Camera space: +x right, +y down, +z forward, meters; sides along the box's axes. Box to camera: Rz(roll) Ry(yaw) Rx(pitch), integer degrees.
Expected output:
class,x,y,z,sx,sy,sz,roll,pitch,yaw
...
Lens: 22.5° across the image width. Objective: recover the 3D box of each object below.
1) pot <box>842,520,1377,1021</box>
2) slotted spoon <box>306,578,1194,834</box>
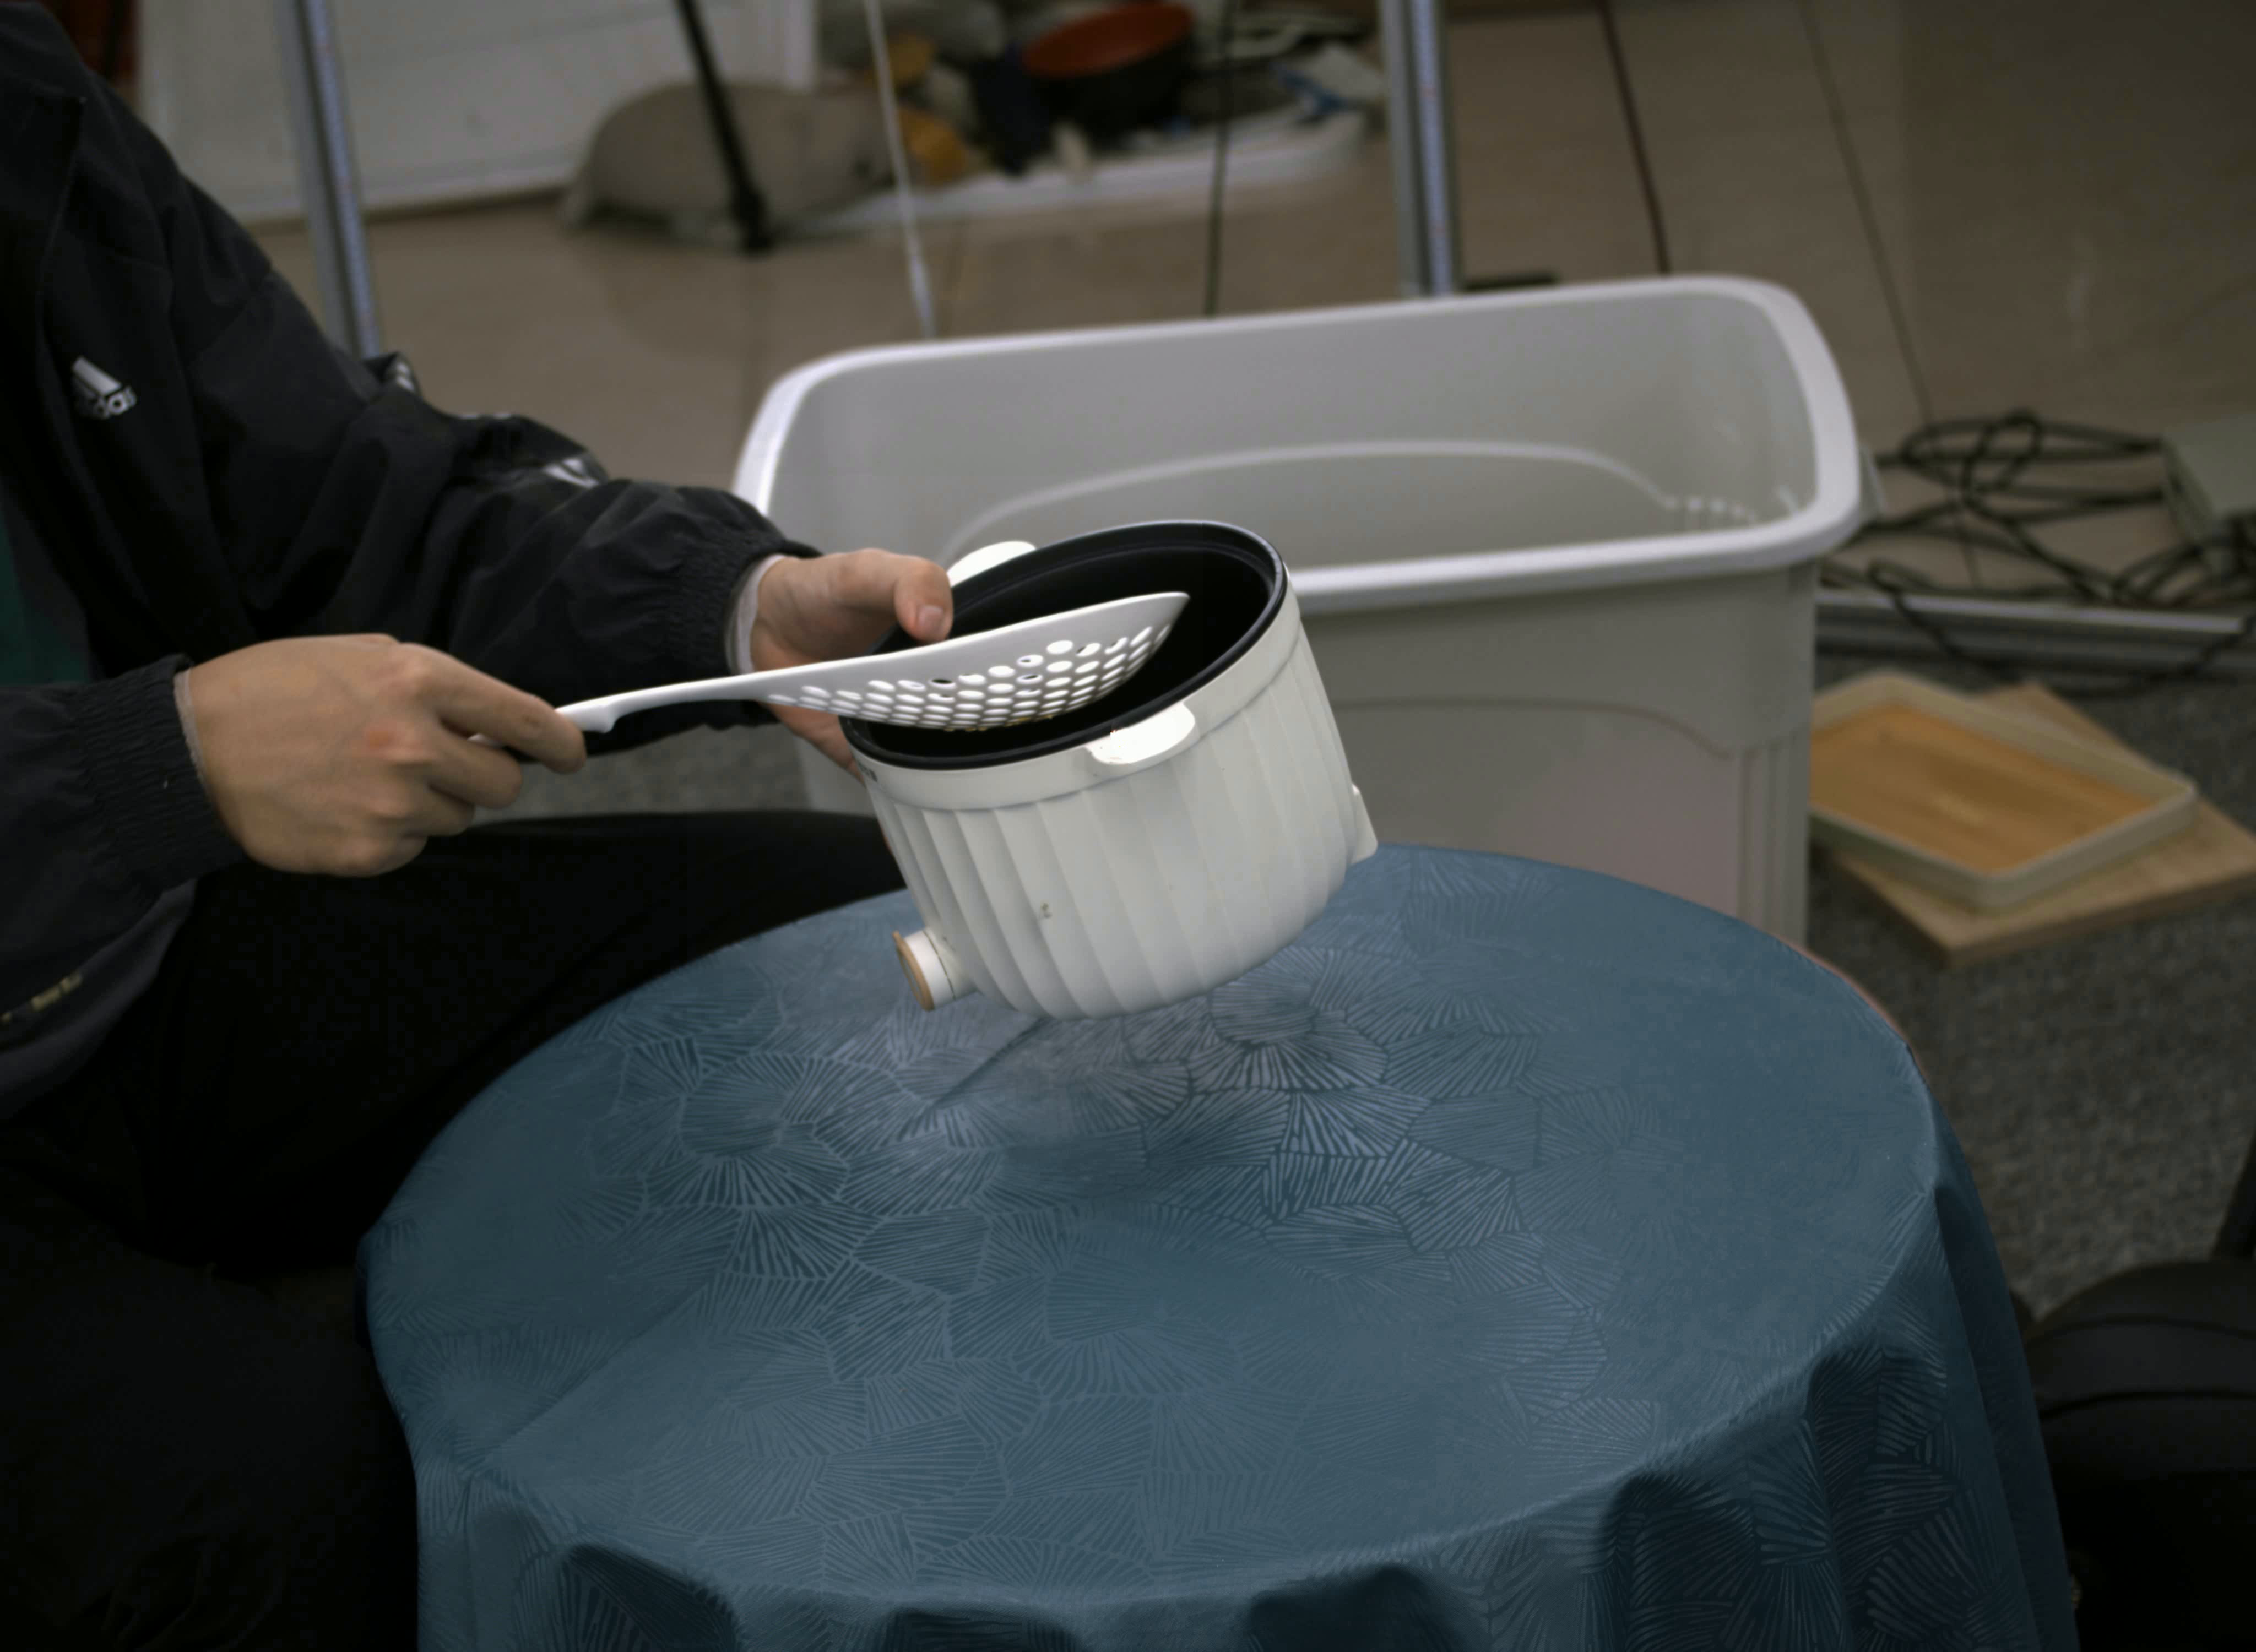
class,x,y,z,sx,sy,sz,roll,pitch,yaw
pot,-0.009,-0.013,2.184,0.190,0.145,0.237,-22,25,-10
slotted spoon,-0.141,-0.046,2.125,0.347,0.050,0.136,-8,2,-16
